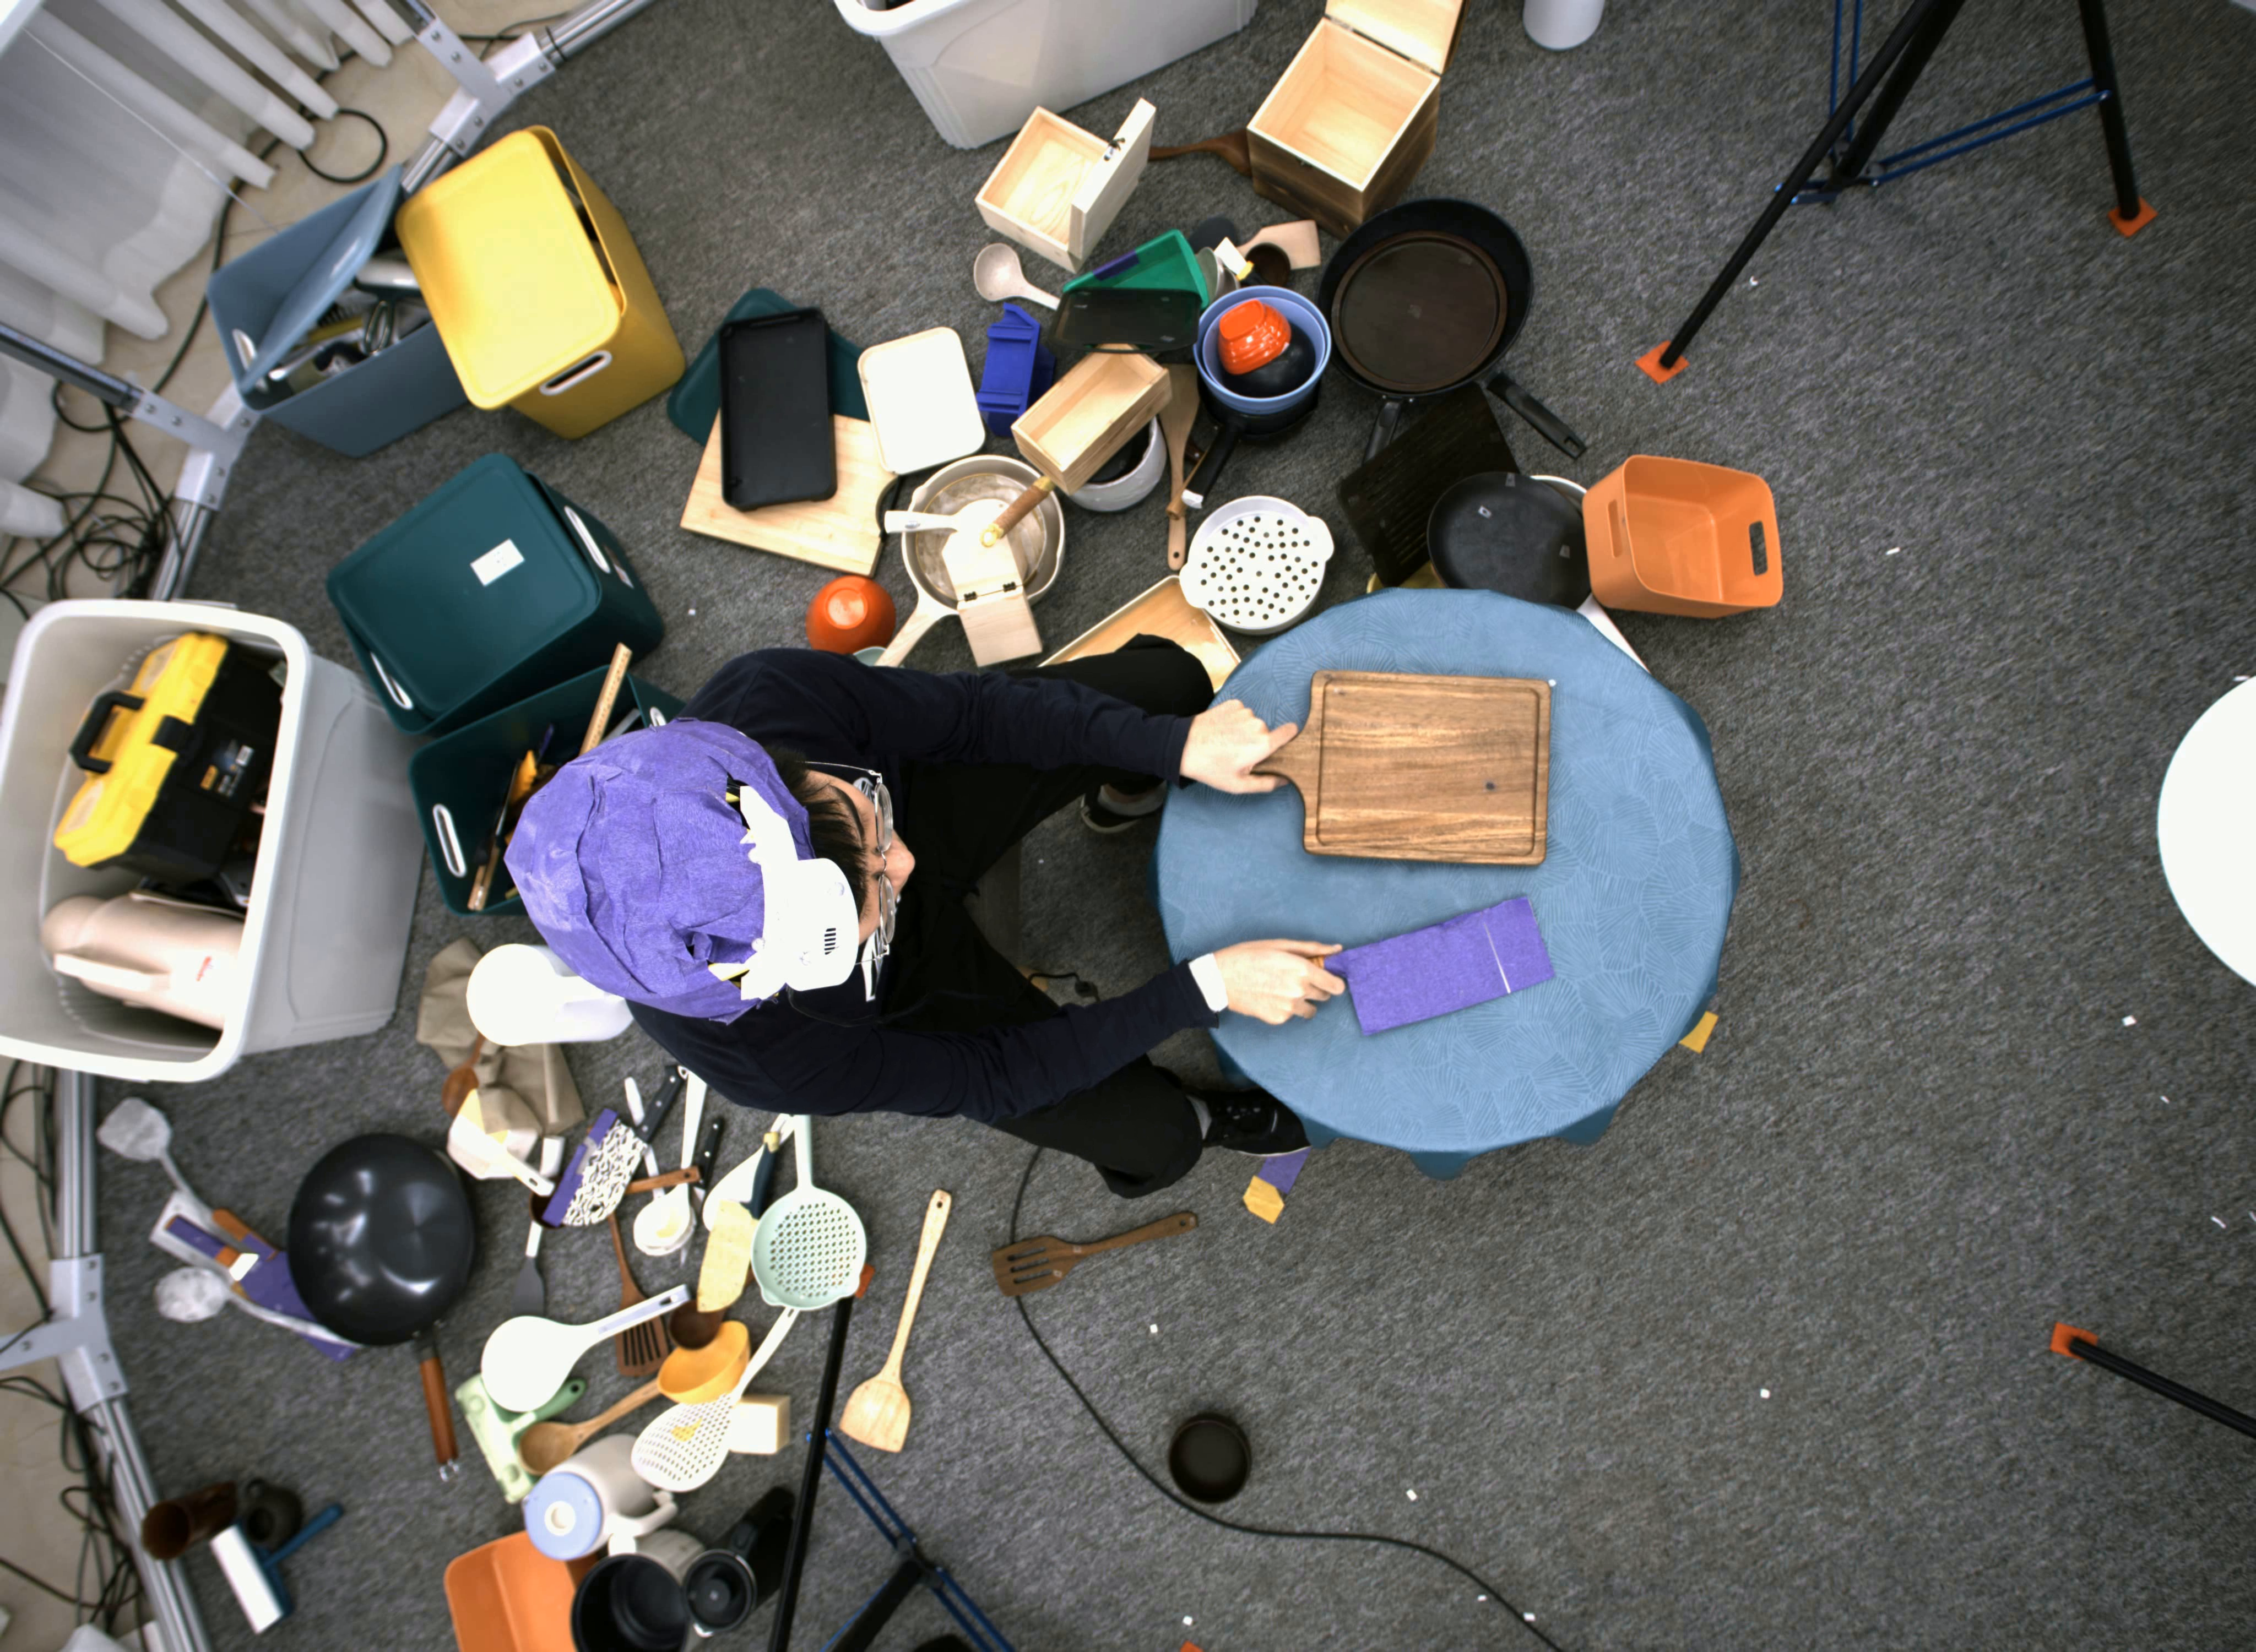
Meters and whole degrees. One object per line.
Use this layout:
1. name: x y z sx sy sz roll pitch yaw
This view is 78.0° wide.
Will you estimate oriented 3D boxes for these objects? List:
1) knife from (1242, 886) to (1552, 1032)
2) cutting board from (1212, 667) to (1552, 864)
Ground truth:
1. knife: 0.280 0.156 1.432 0.317 0.032 0.103 -19 89 7
2. cutting board: 0.264 -0.068 1.443 0.353 0.023 0.200 3 89 6
